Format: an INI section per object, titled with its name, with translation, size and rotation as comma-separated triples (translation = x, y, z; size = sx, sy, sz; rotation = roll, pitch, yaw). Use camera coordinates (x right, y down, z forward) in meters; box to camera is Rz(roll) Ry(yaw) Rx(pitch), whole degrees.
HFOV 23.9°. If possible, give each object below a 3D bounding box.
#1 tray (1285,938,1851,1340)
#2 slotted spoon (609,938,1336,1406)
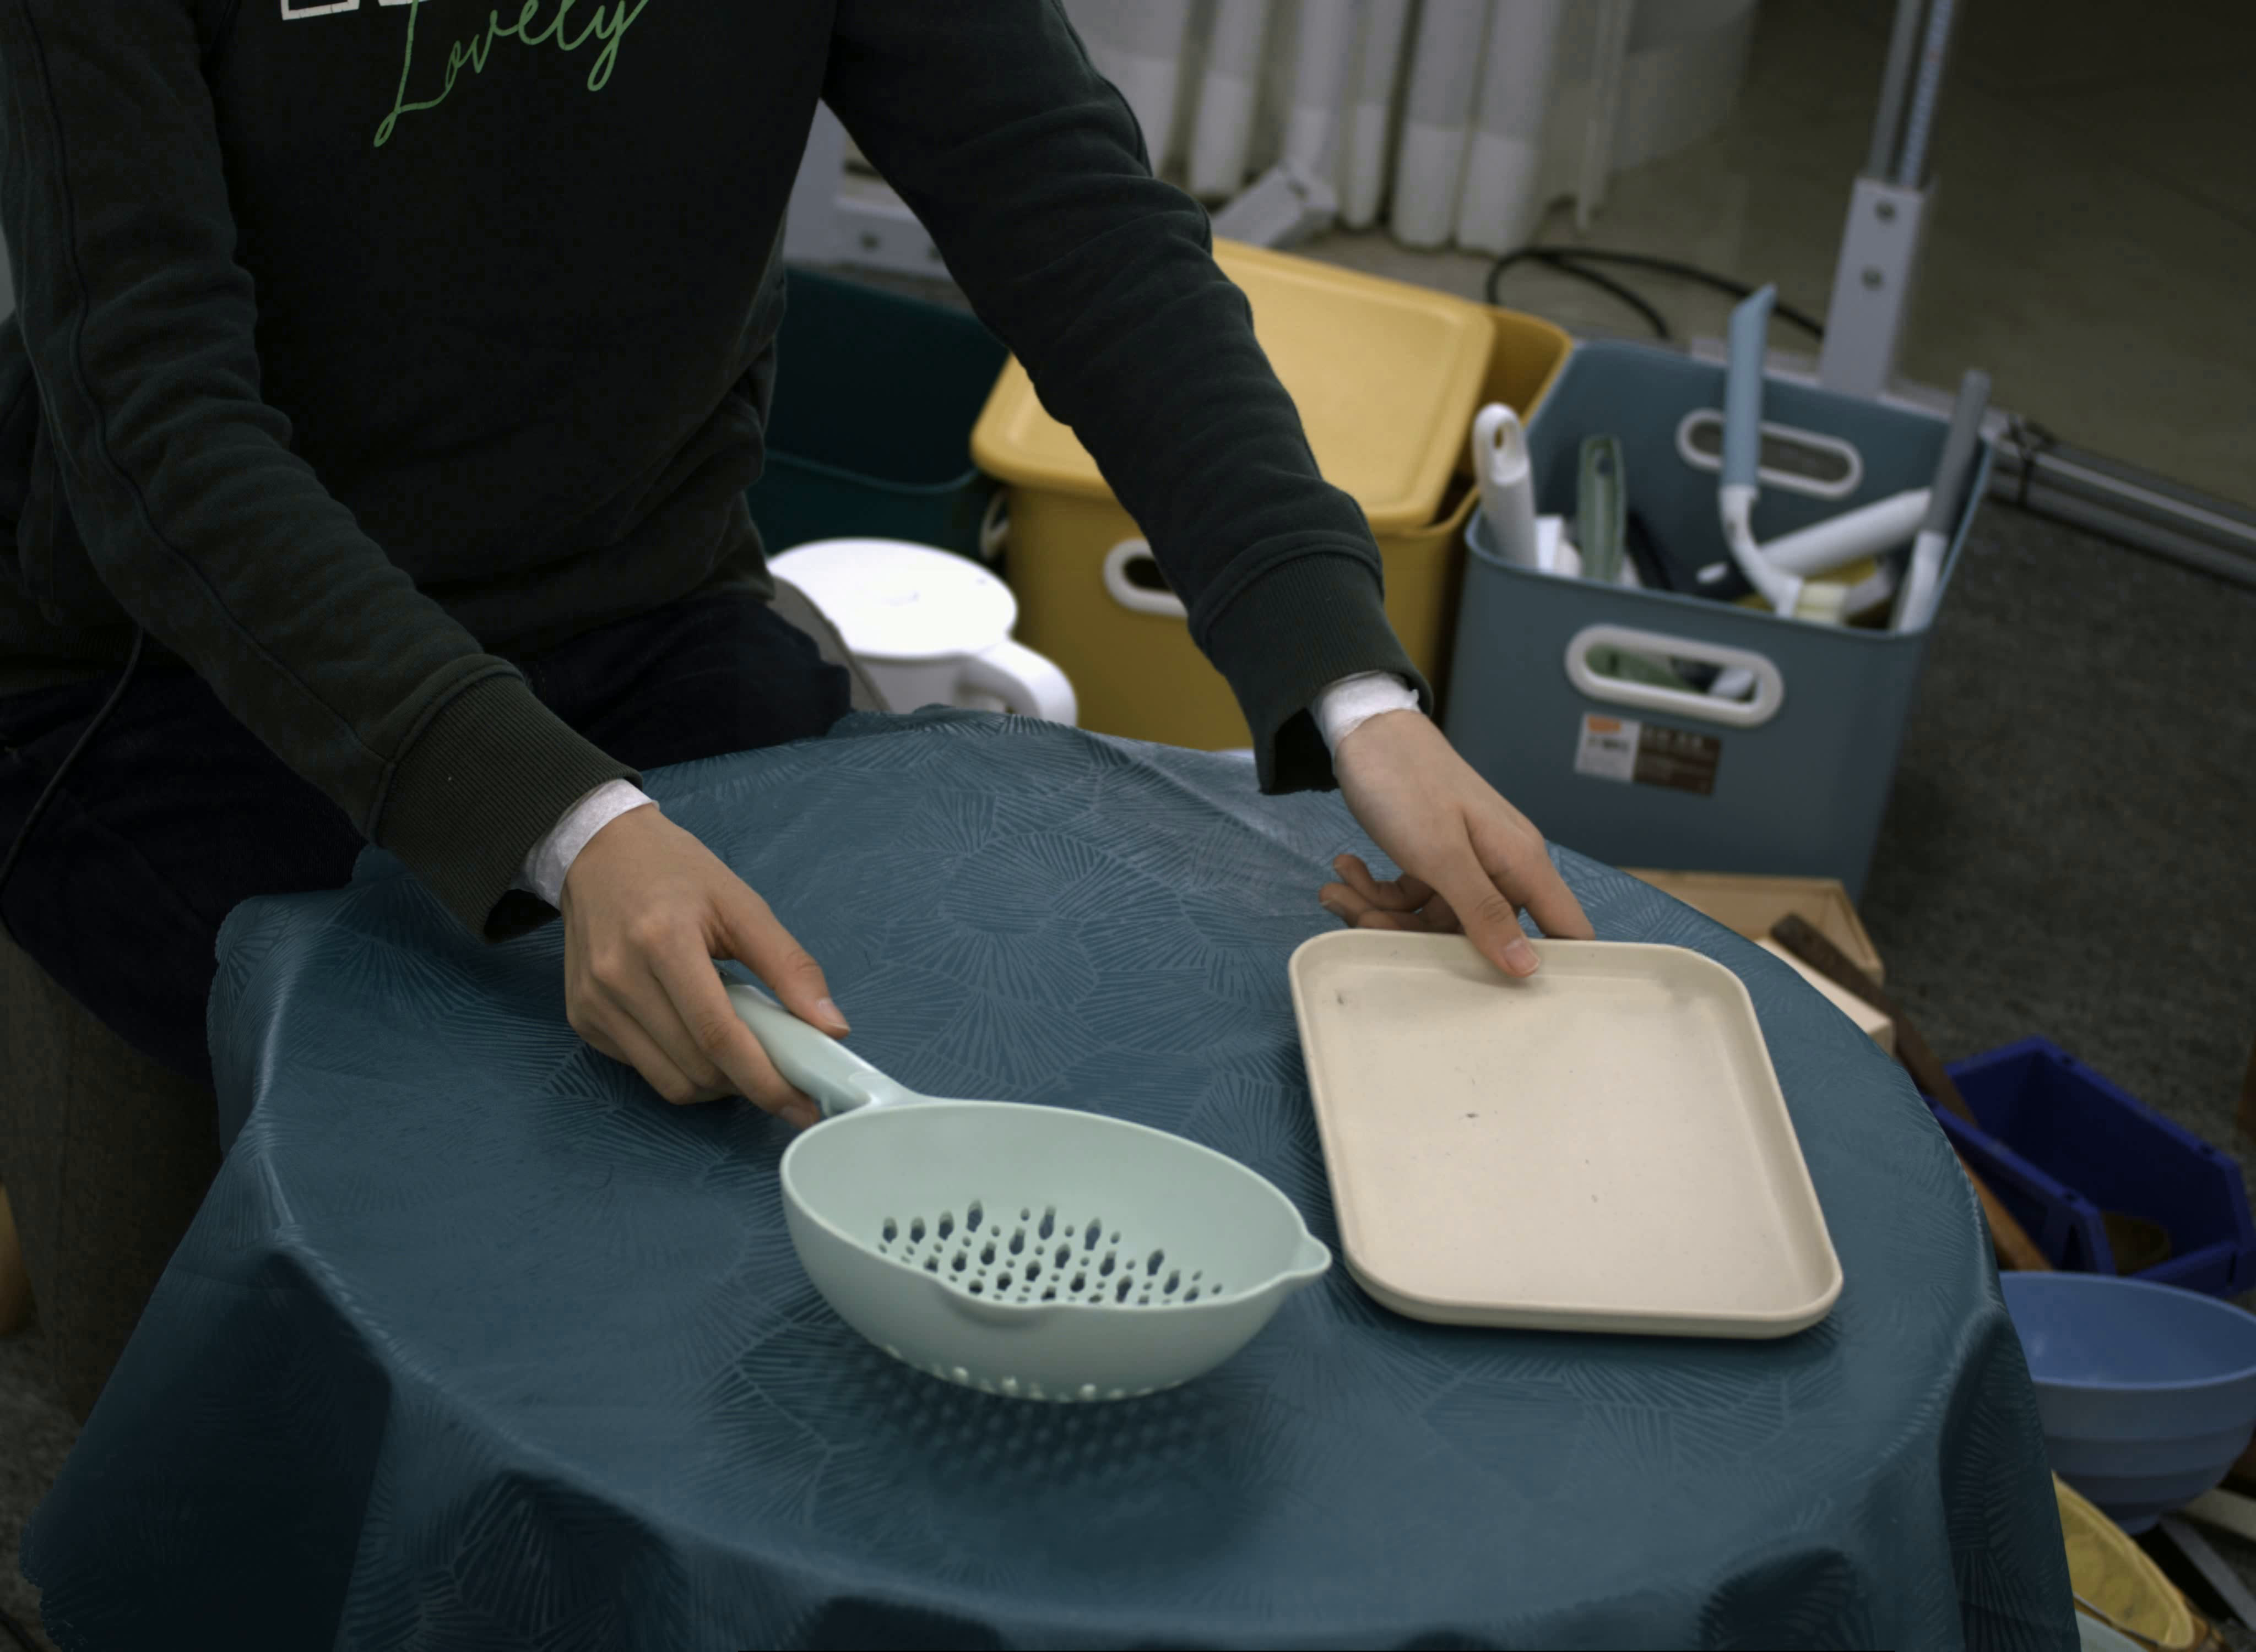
[tray]
translation = 0.147, 0.107, 1.839
size = 0.170, 0.017, 0.241
rotation = 3, 28, -7
[slotted spoon]
translation = -0.081, 0.099, 1.756
size = 0.168, 0.075, 0.362
rotation = -2, 27, -34
